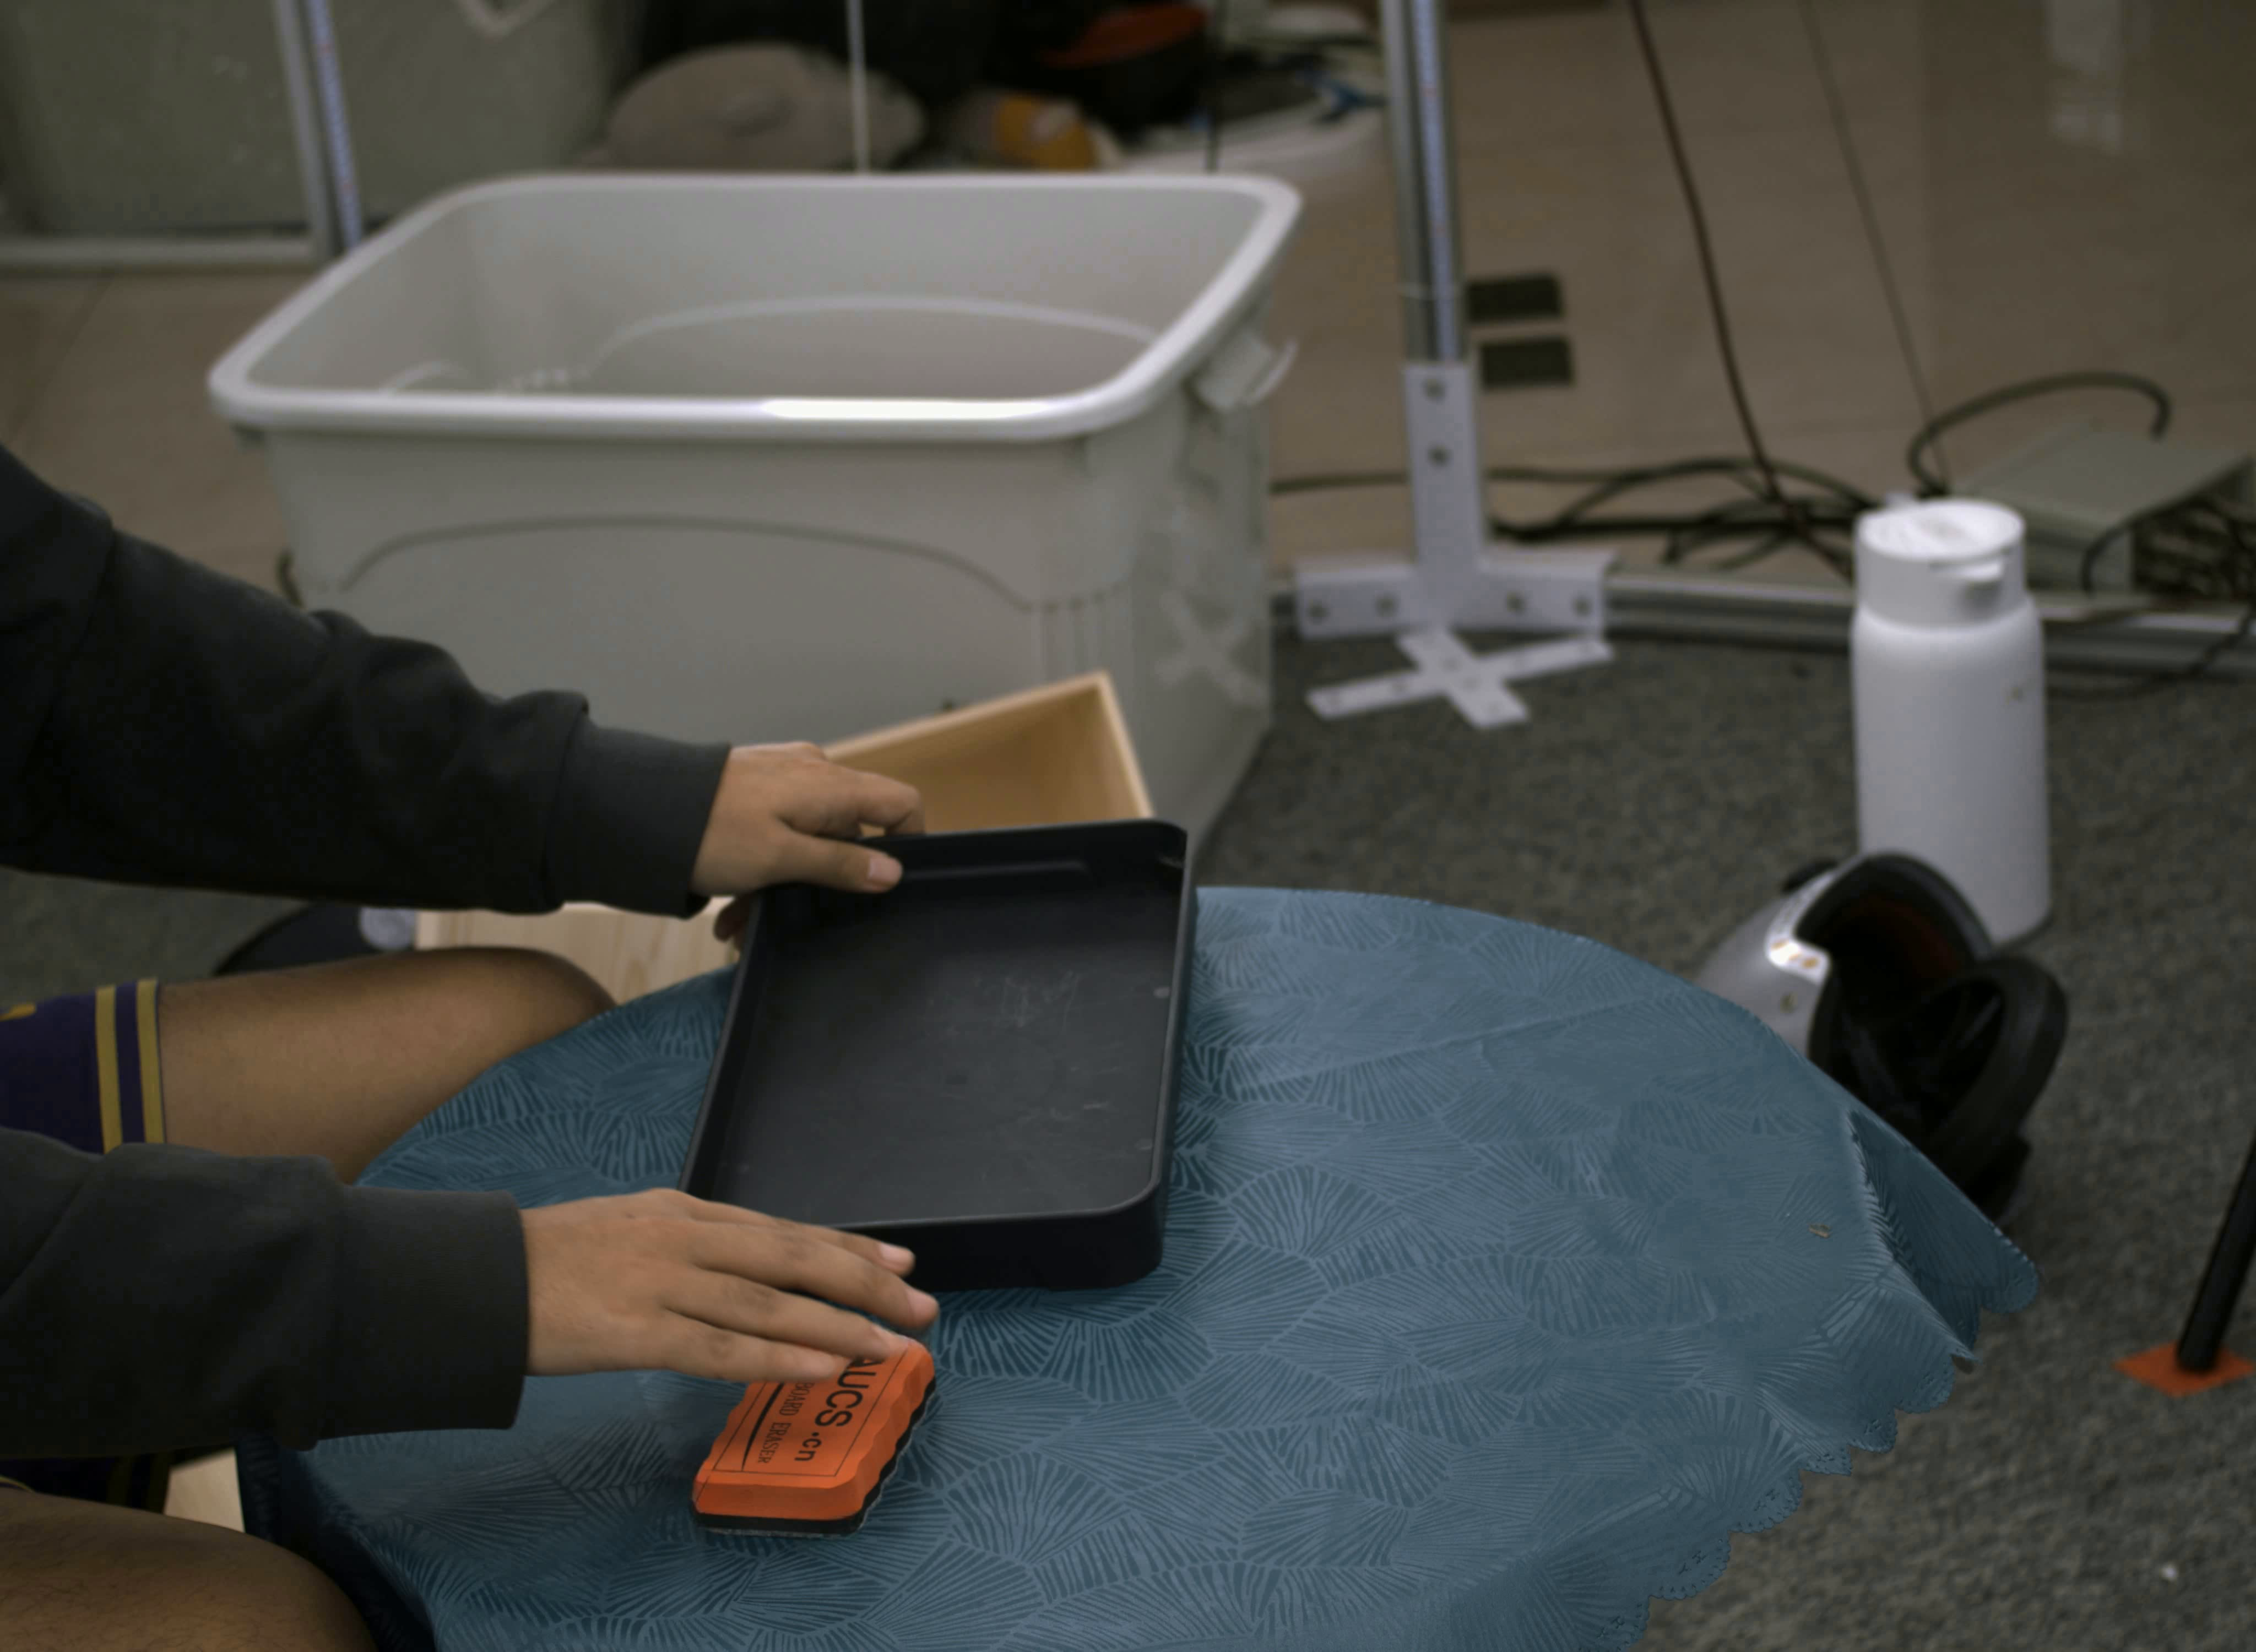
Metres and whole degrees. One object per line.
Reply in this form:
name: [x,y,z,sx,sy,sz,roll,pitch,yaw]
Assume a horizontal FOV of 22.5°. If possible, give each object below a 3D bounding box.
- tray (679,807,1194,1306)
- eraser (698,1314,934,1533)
tray: [-0.068,0.086,2.222,0.184,0.037,0.313,-5,28,5]
eraser: [-0.108,0.208,1.989,0.059,0.023,0.106,-6,25,19]
